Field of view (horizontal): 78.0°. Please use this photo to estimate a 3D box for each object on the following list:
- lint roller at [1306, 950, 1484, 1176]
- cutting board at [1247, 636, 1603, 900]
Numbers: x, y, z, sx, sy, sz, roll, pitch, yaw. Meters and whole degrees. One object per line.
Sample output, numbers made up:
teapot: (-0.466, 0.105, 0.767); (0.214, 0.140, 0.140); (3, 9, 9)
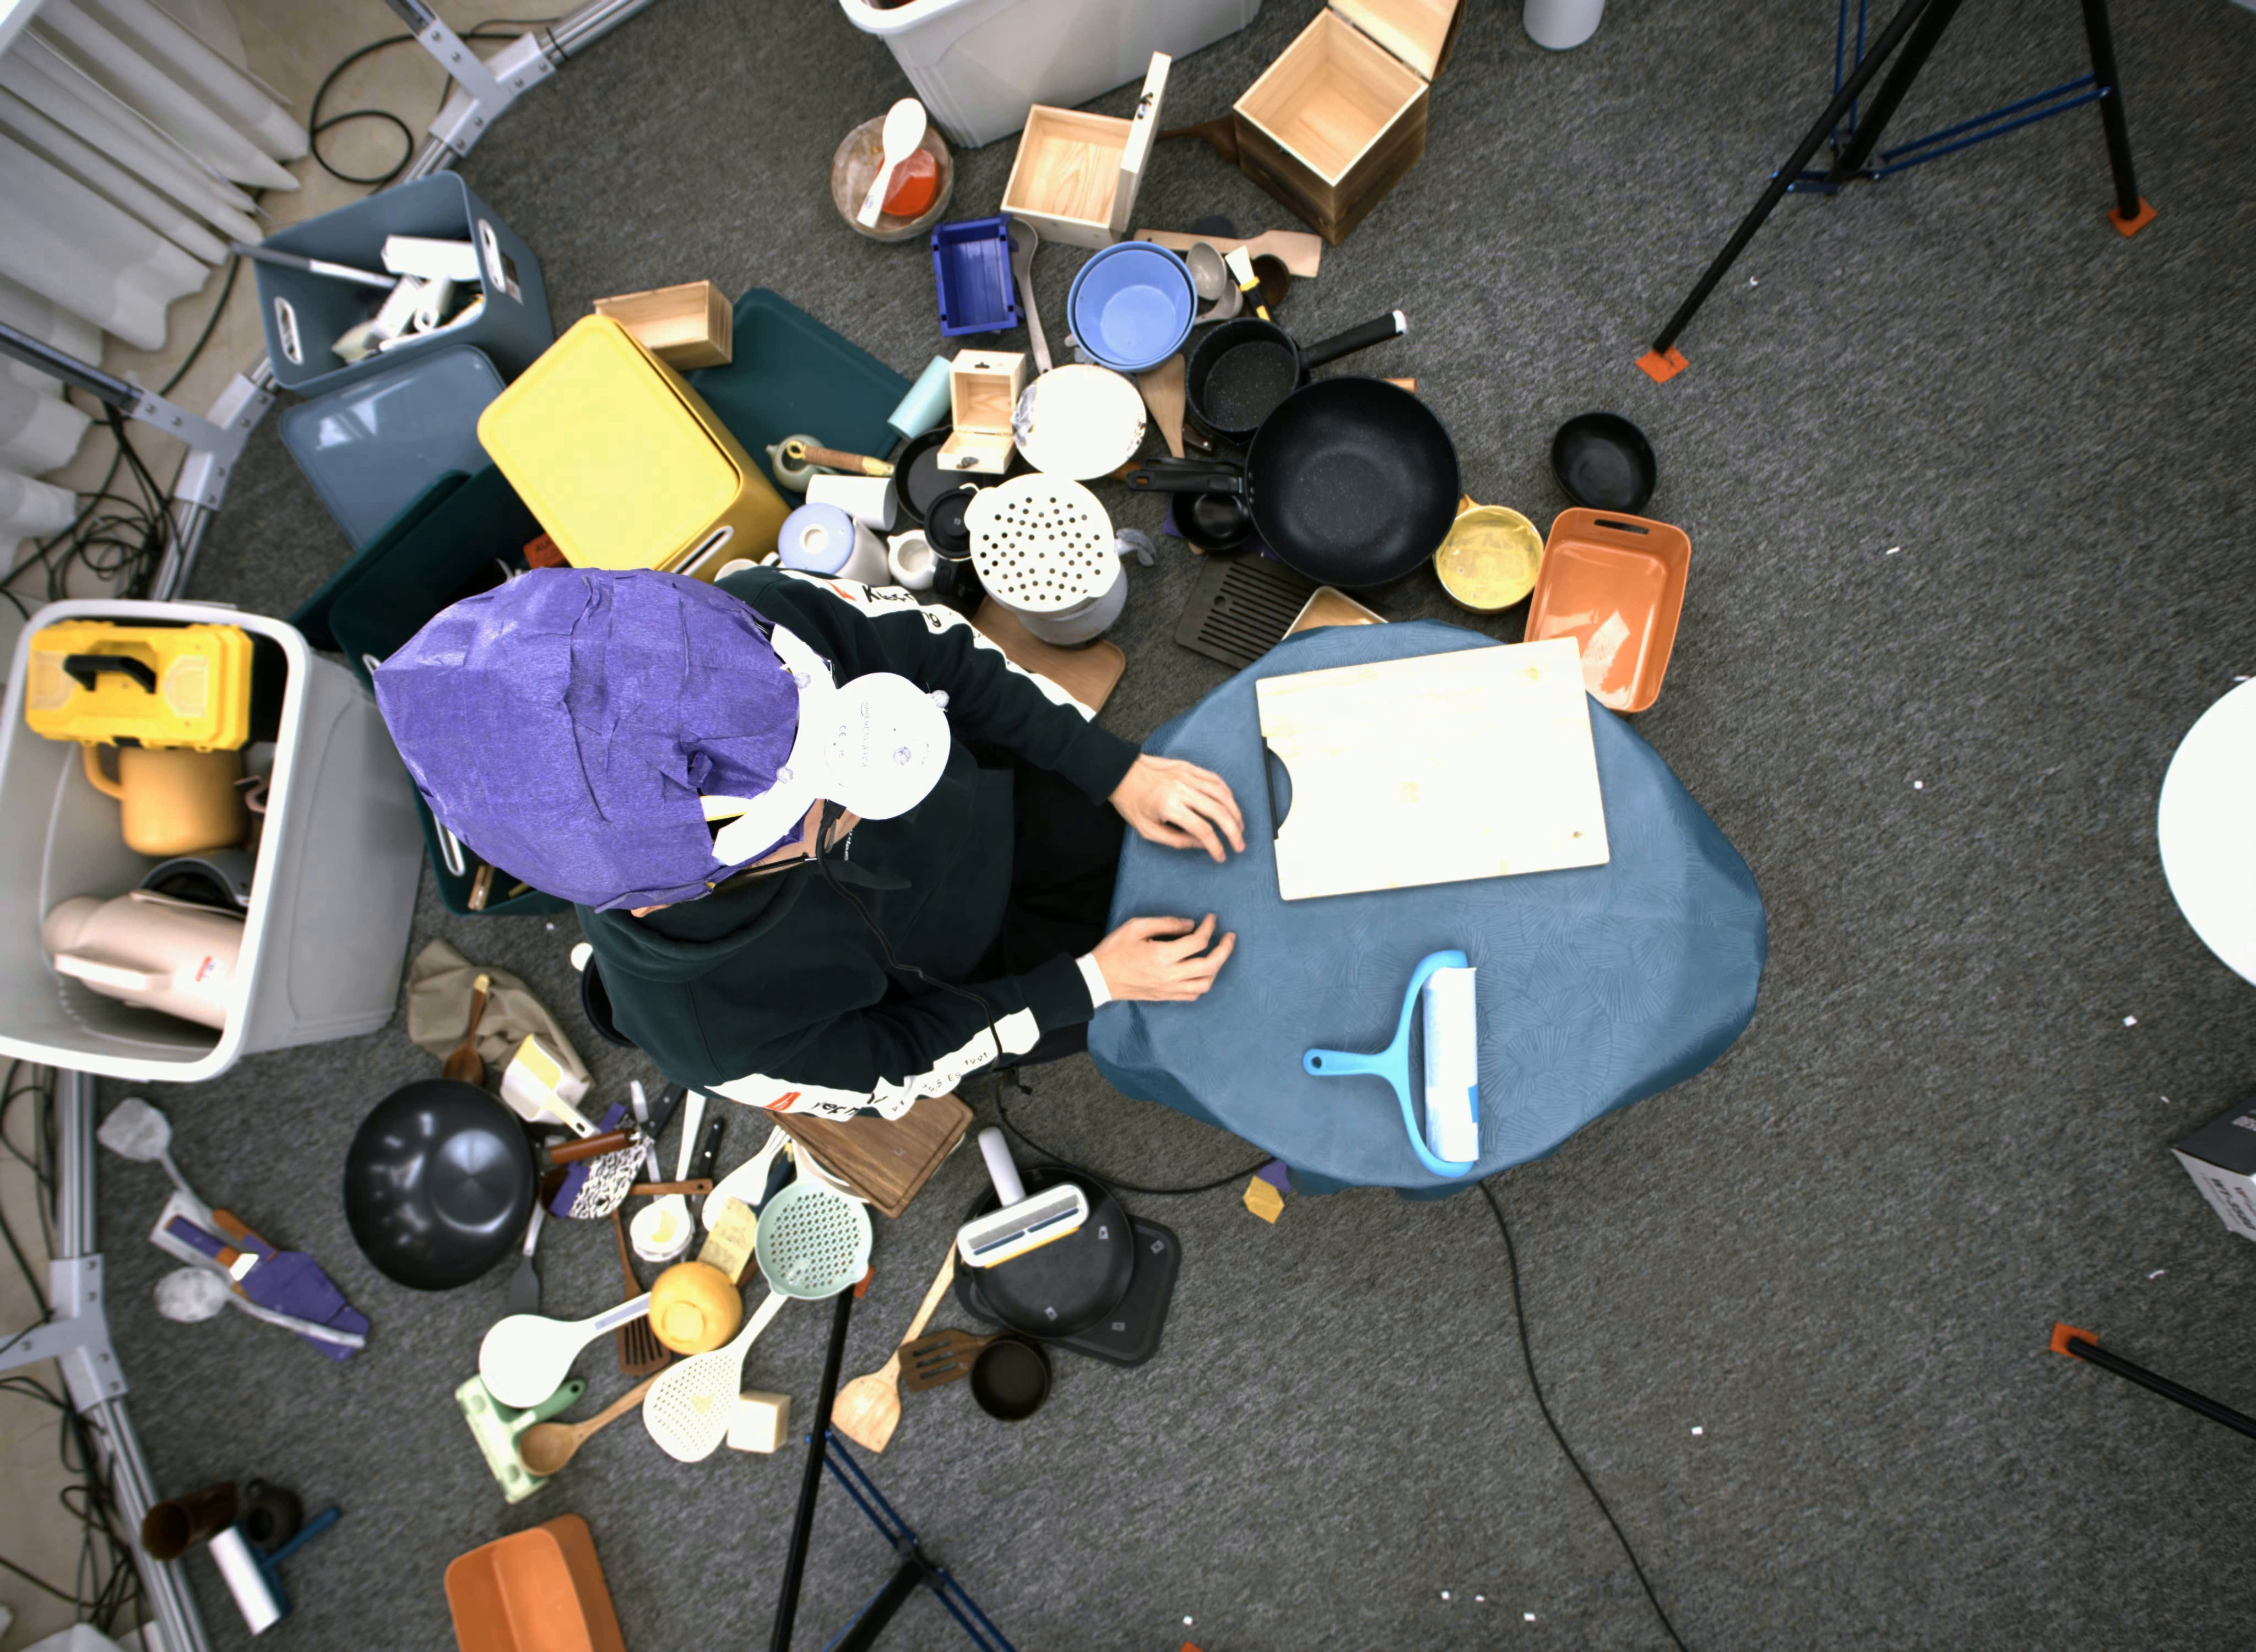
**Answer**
lint roller: (0.273, 0.243, 1.417); (0.181, 0.068, 0.228); (-4, 88, 9)
cutting board: (0.311, -0.061, 1.446); (0.350, 0.023, 0.249); (-8, 86, 10)
